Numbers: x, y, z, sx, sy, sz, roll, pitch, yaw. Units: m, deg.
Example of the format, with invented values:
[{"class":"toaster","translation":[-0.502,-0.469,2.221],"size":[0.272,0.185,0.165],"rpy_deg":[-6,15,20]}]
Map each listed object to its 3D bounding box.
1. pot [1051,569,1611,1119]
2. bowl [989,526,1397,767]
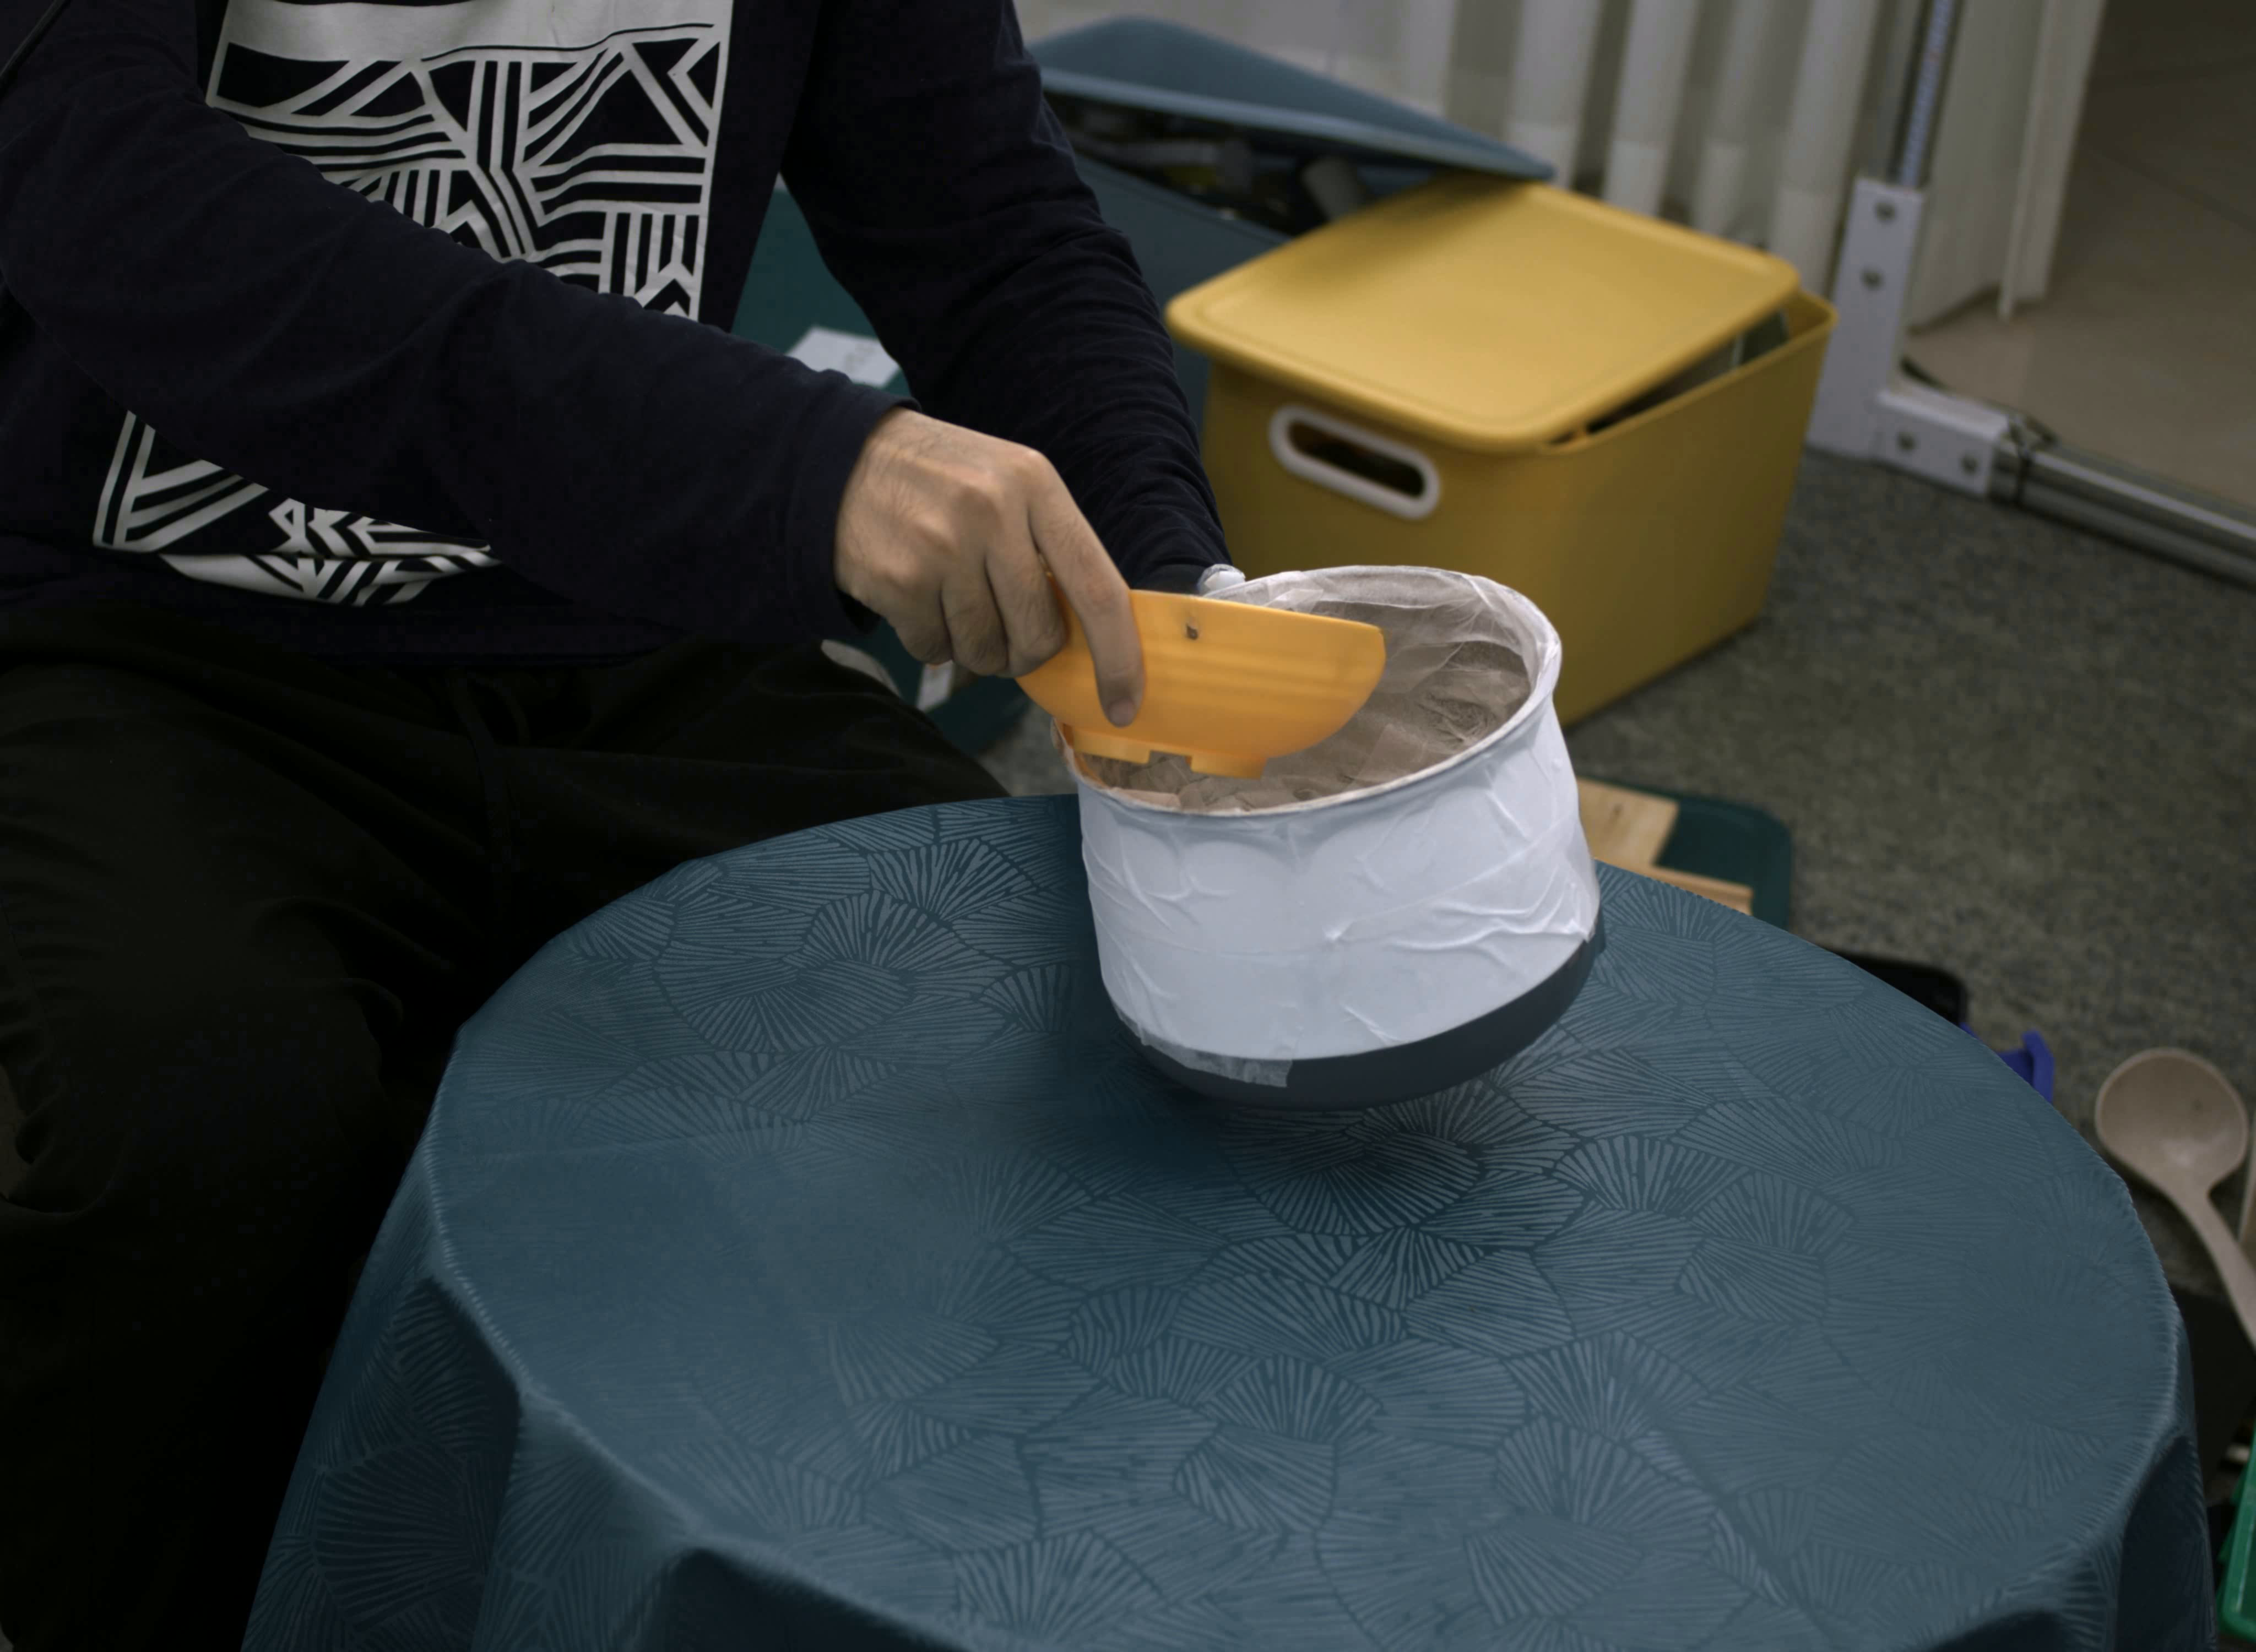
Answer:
[{"class":"pot","translation":[0.064,-0.003,1.873],"size":[0.178,0.136,0.235],"rpy_deg":[-18,26,-10]},{"class":"bowl","translation":[0.016,-0.057,1.807],"size":[0.145,0.060,0.145],"rpy_deg":[13,4,-1]}]
